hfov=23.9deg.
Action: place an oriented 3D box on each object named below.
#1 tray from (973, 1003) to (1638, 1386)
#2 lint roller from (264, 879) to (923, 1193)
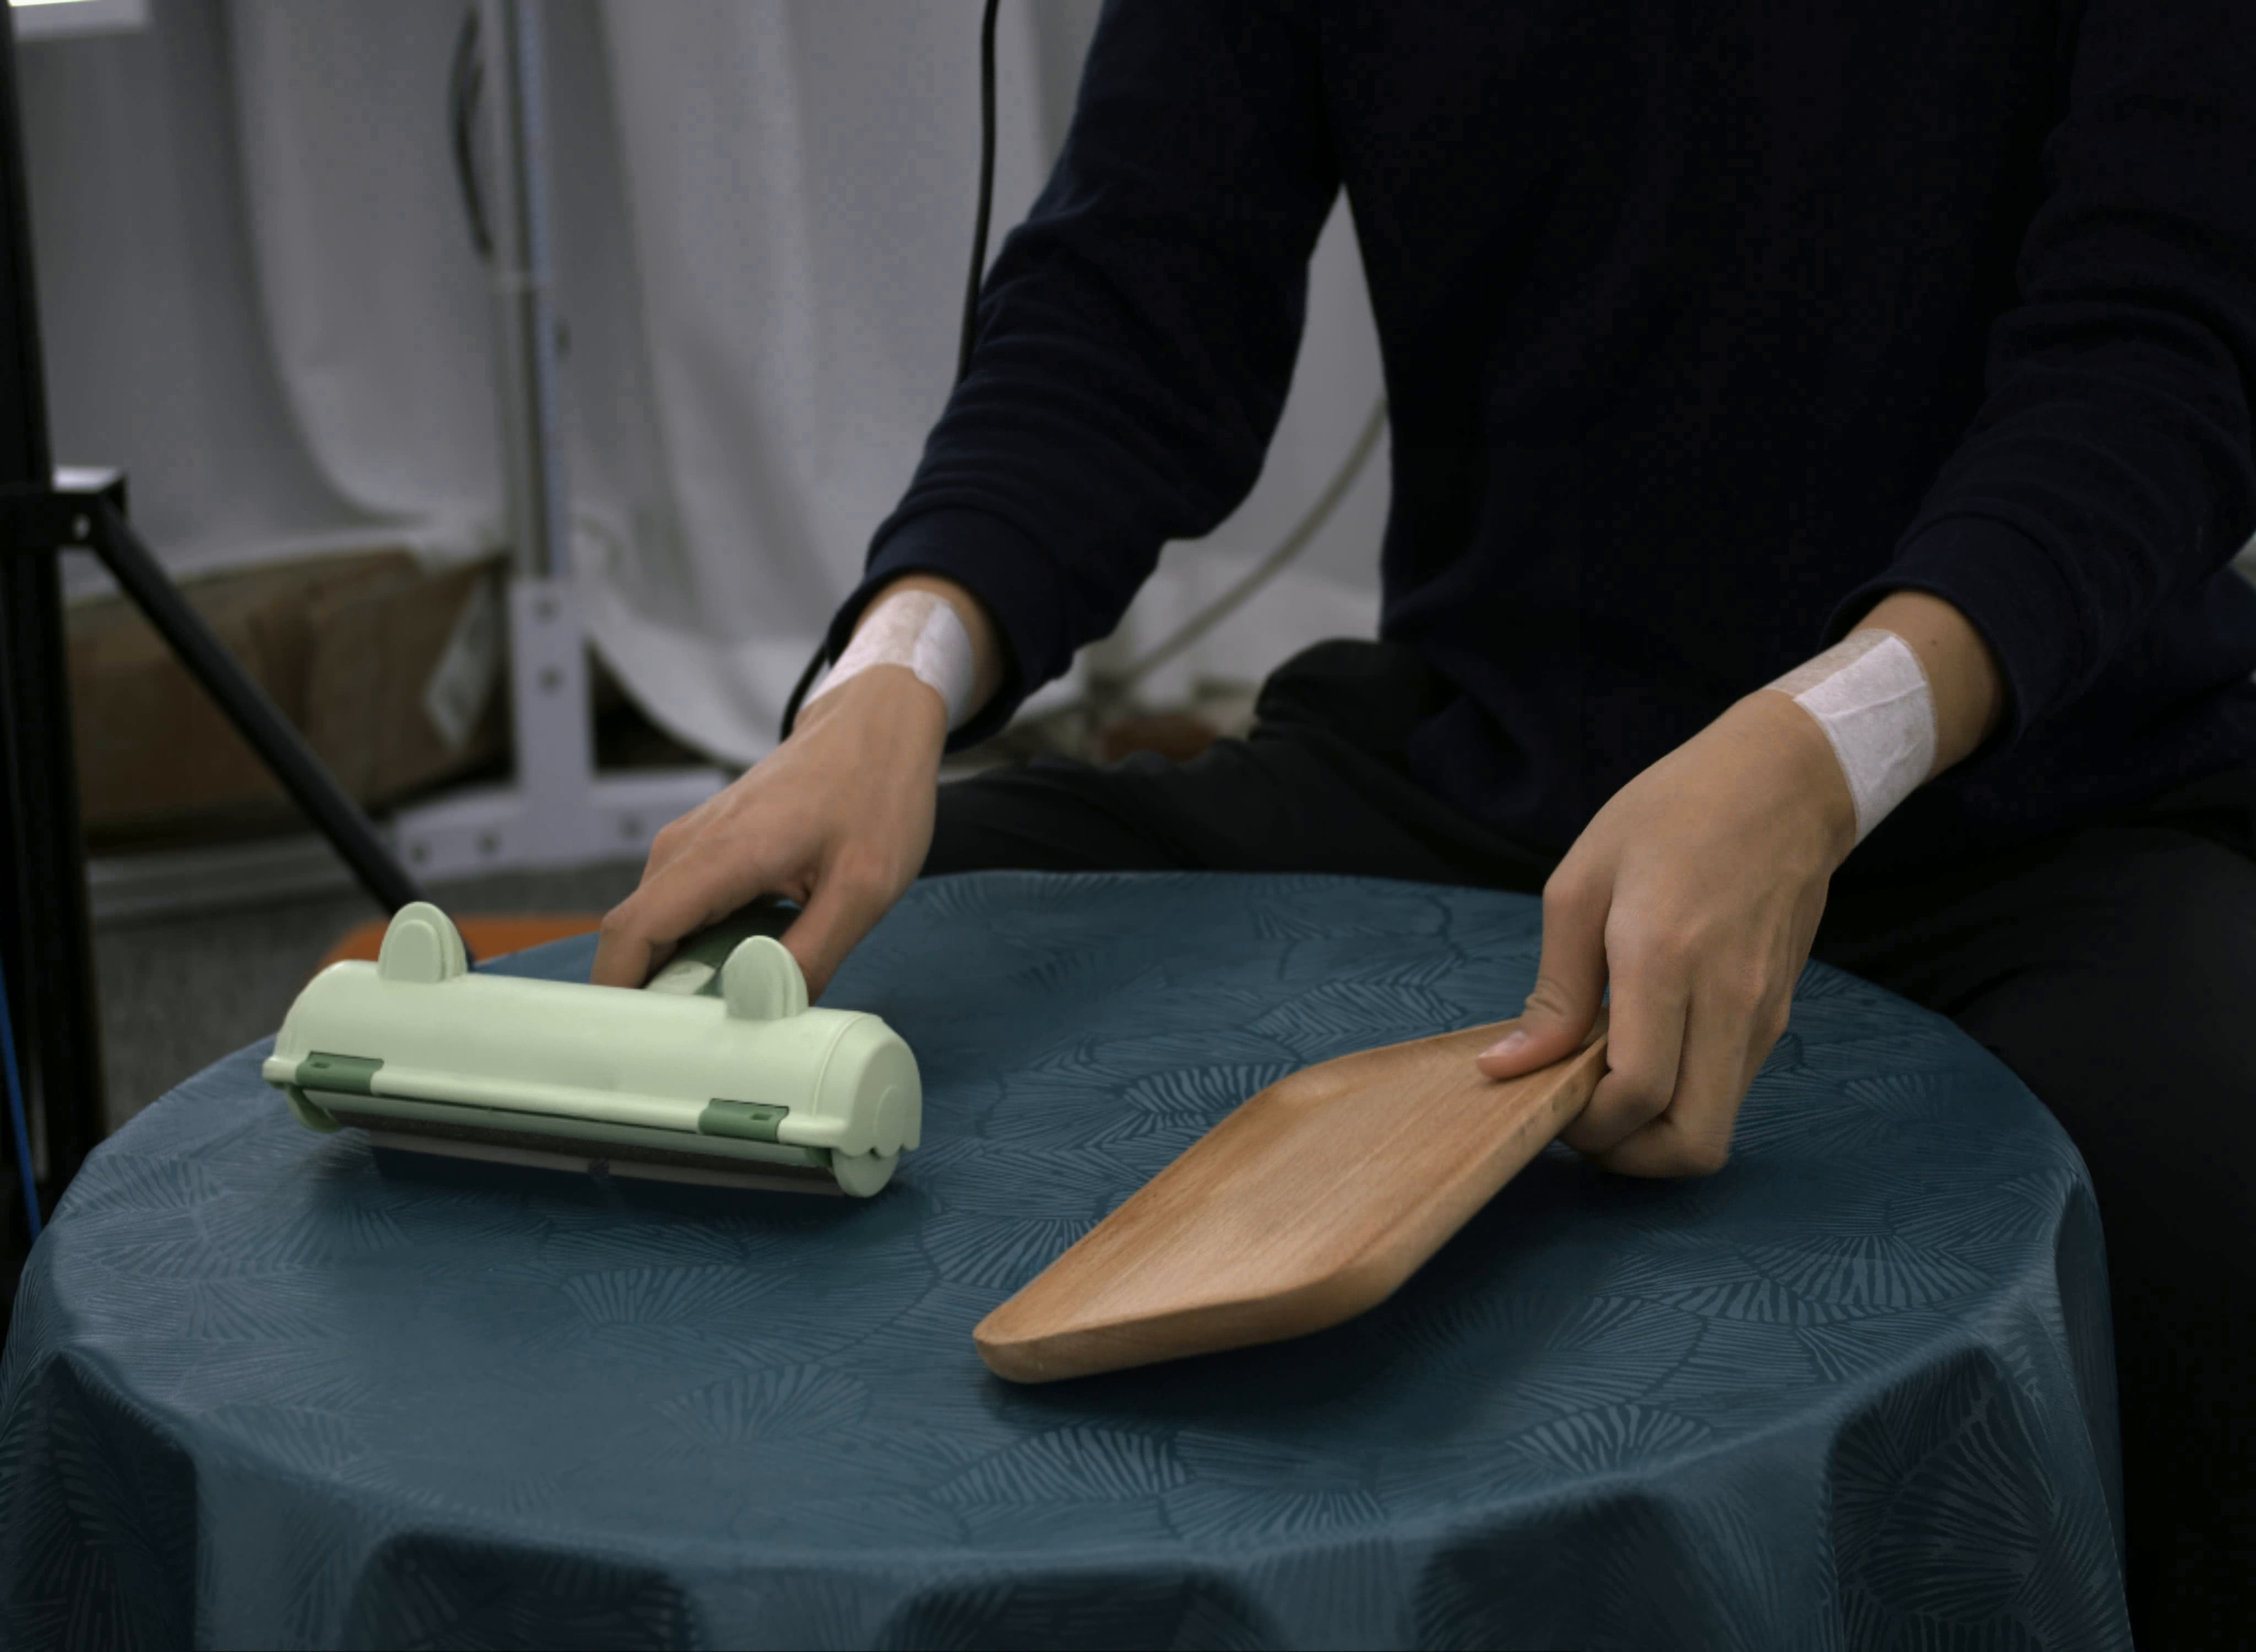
[{"bbox_3d":[0.055,0.102,1.485,0.132,0.023,0.247,-10,11,27],"label":"tray"},{"bbox_3d":[-0.139,0.041,1.632,0.201,0.082,0.182,5,31,24],"label":"lint roller"}]
